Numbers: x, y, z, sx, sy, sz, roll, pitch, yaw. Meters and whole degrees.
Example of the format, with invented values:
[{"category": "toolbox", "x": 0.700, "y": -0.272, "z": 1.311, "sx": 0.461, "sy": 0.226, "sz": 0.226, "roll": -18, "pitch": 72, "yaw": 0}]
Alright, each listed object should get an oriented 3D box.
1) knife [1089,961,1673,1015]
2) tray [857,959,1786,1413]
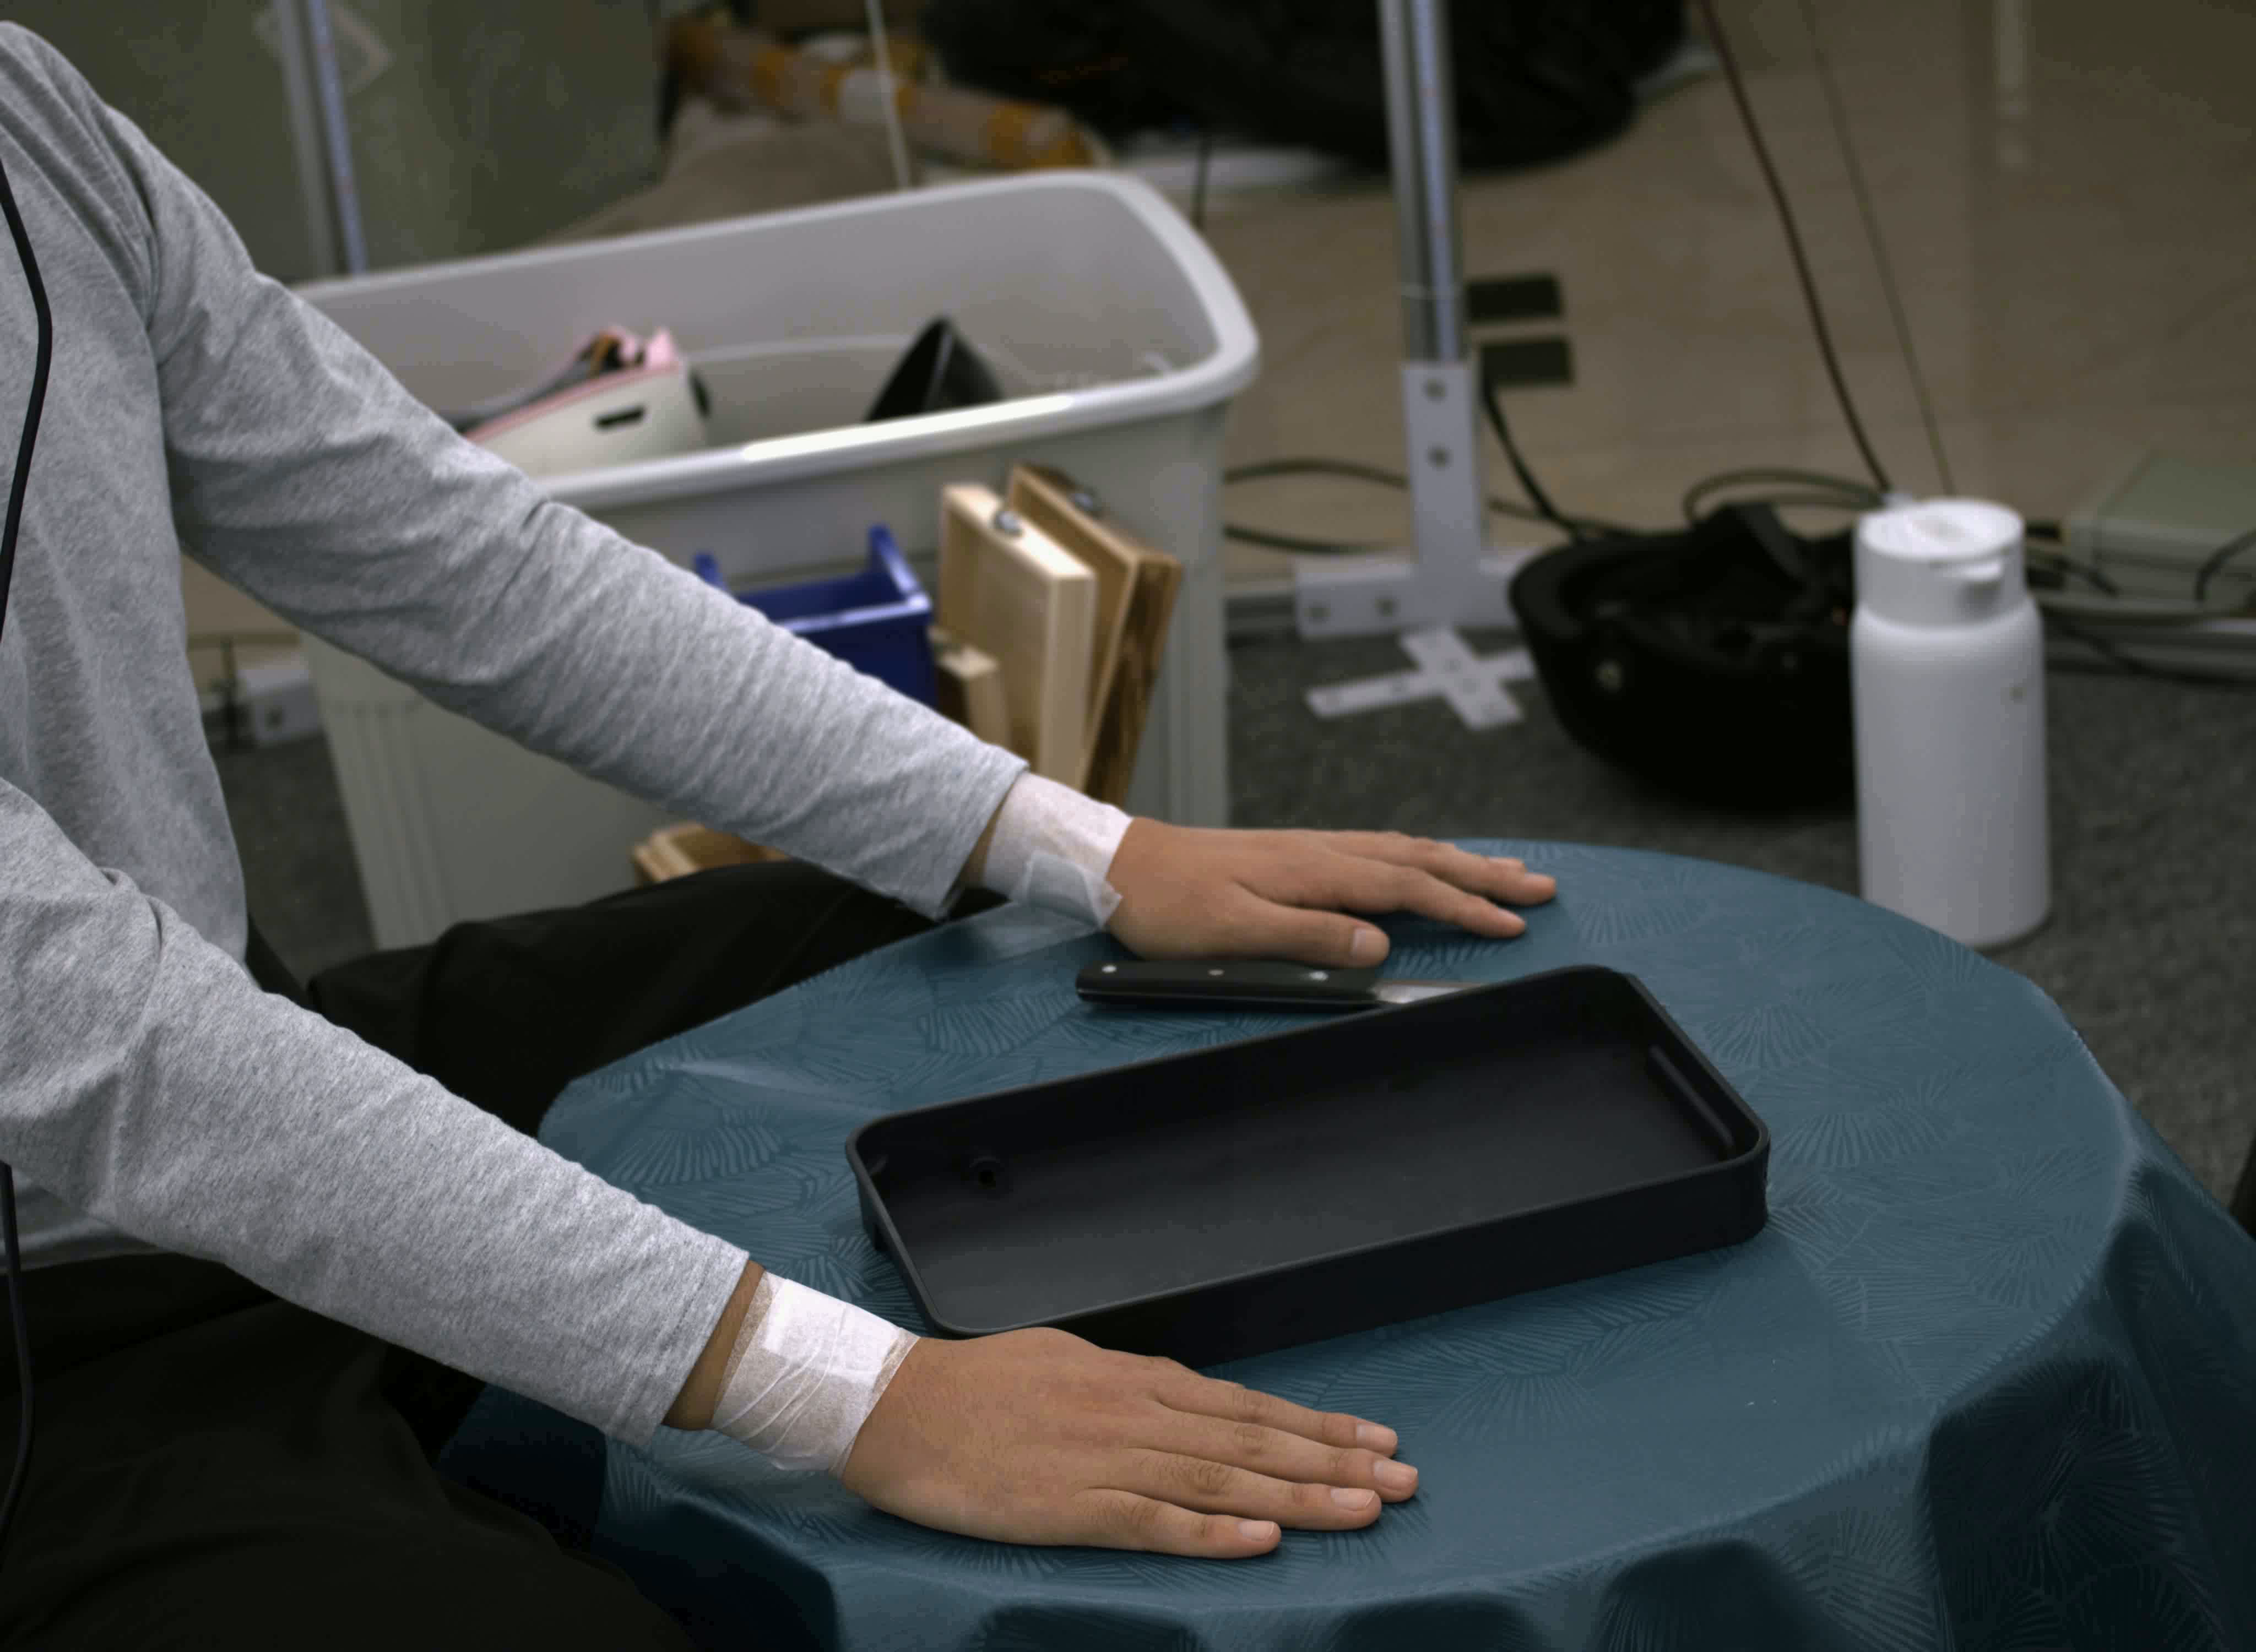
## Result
[{"category": "knife", "x": 0.099, "y": 0.067, "z": 2.270, "sx": 0.237, "sy": 0.016, "sz": 0.024, "roll": 2, "pitch": 30, "yaw": 11}, {"category": "tray", "x": 0.071, "y": 0.130, "z": 2.110, "sx": 0.317, "sy": 0.037, "sz": 0.182, "roll": -13, "pitch": 25, "yaw": -12}]
